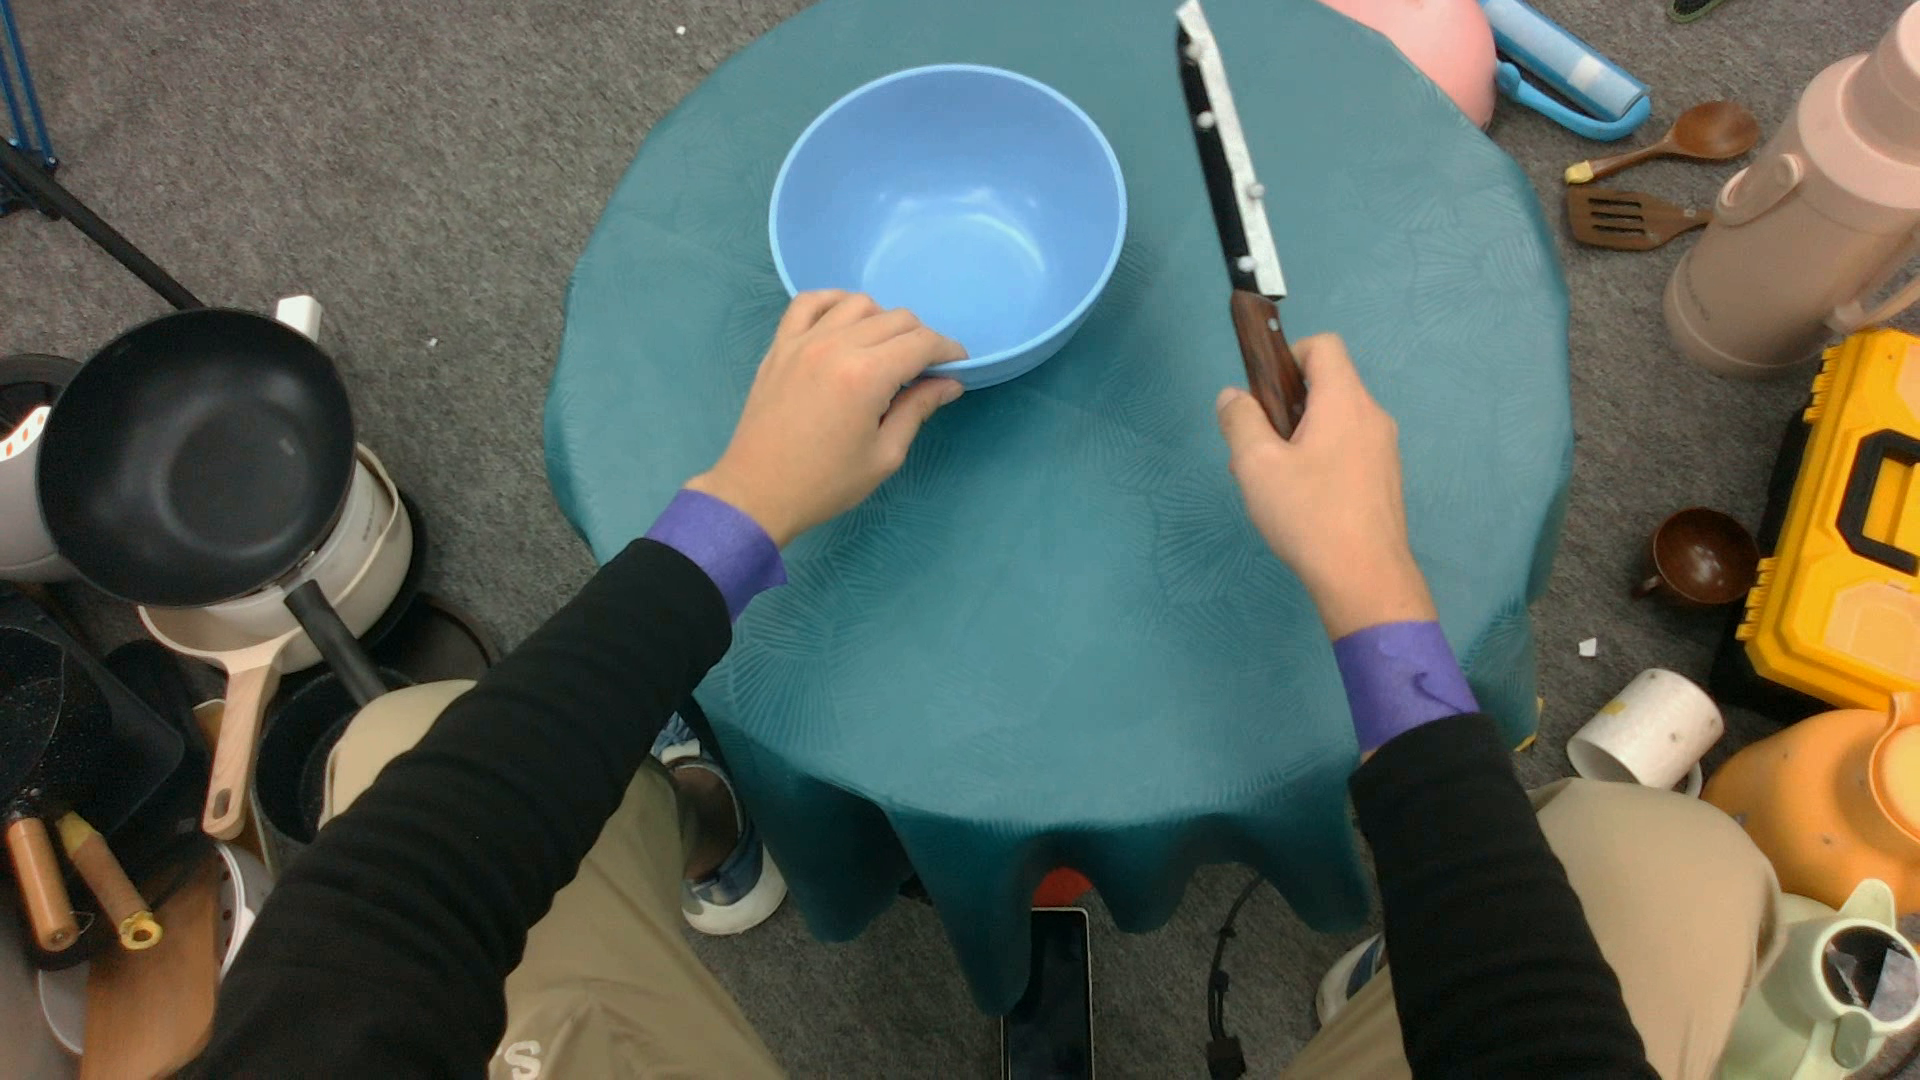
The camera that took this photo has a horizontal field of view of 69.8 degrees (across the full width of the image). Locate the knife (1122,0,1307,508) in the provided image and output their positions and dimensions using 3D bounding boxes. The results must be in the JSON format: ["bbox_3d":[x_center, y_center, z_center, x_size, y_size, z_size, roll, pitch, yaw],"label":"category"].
[{"bbox_3d":[0.127,-0.156,0.703,0.050,0.020,0.289,-10,83,-44],"label":"knife"}]

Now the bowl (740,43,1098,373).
[{"bbox_3d":[-0.021,-0.175,0.794,0.196,0.095,0.197,-1,70,2],"label":"bowl"}]
